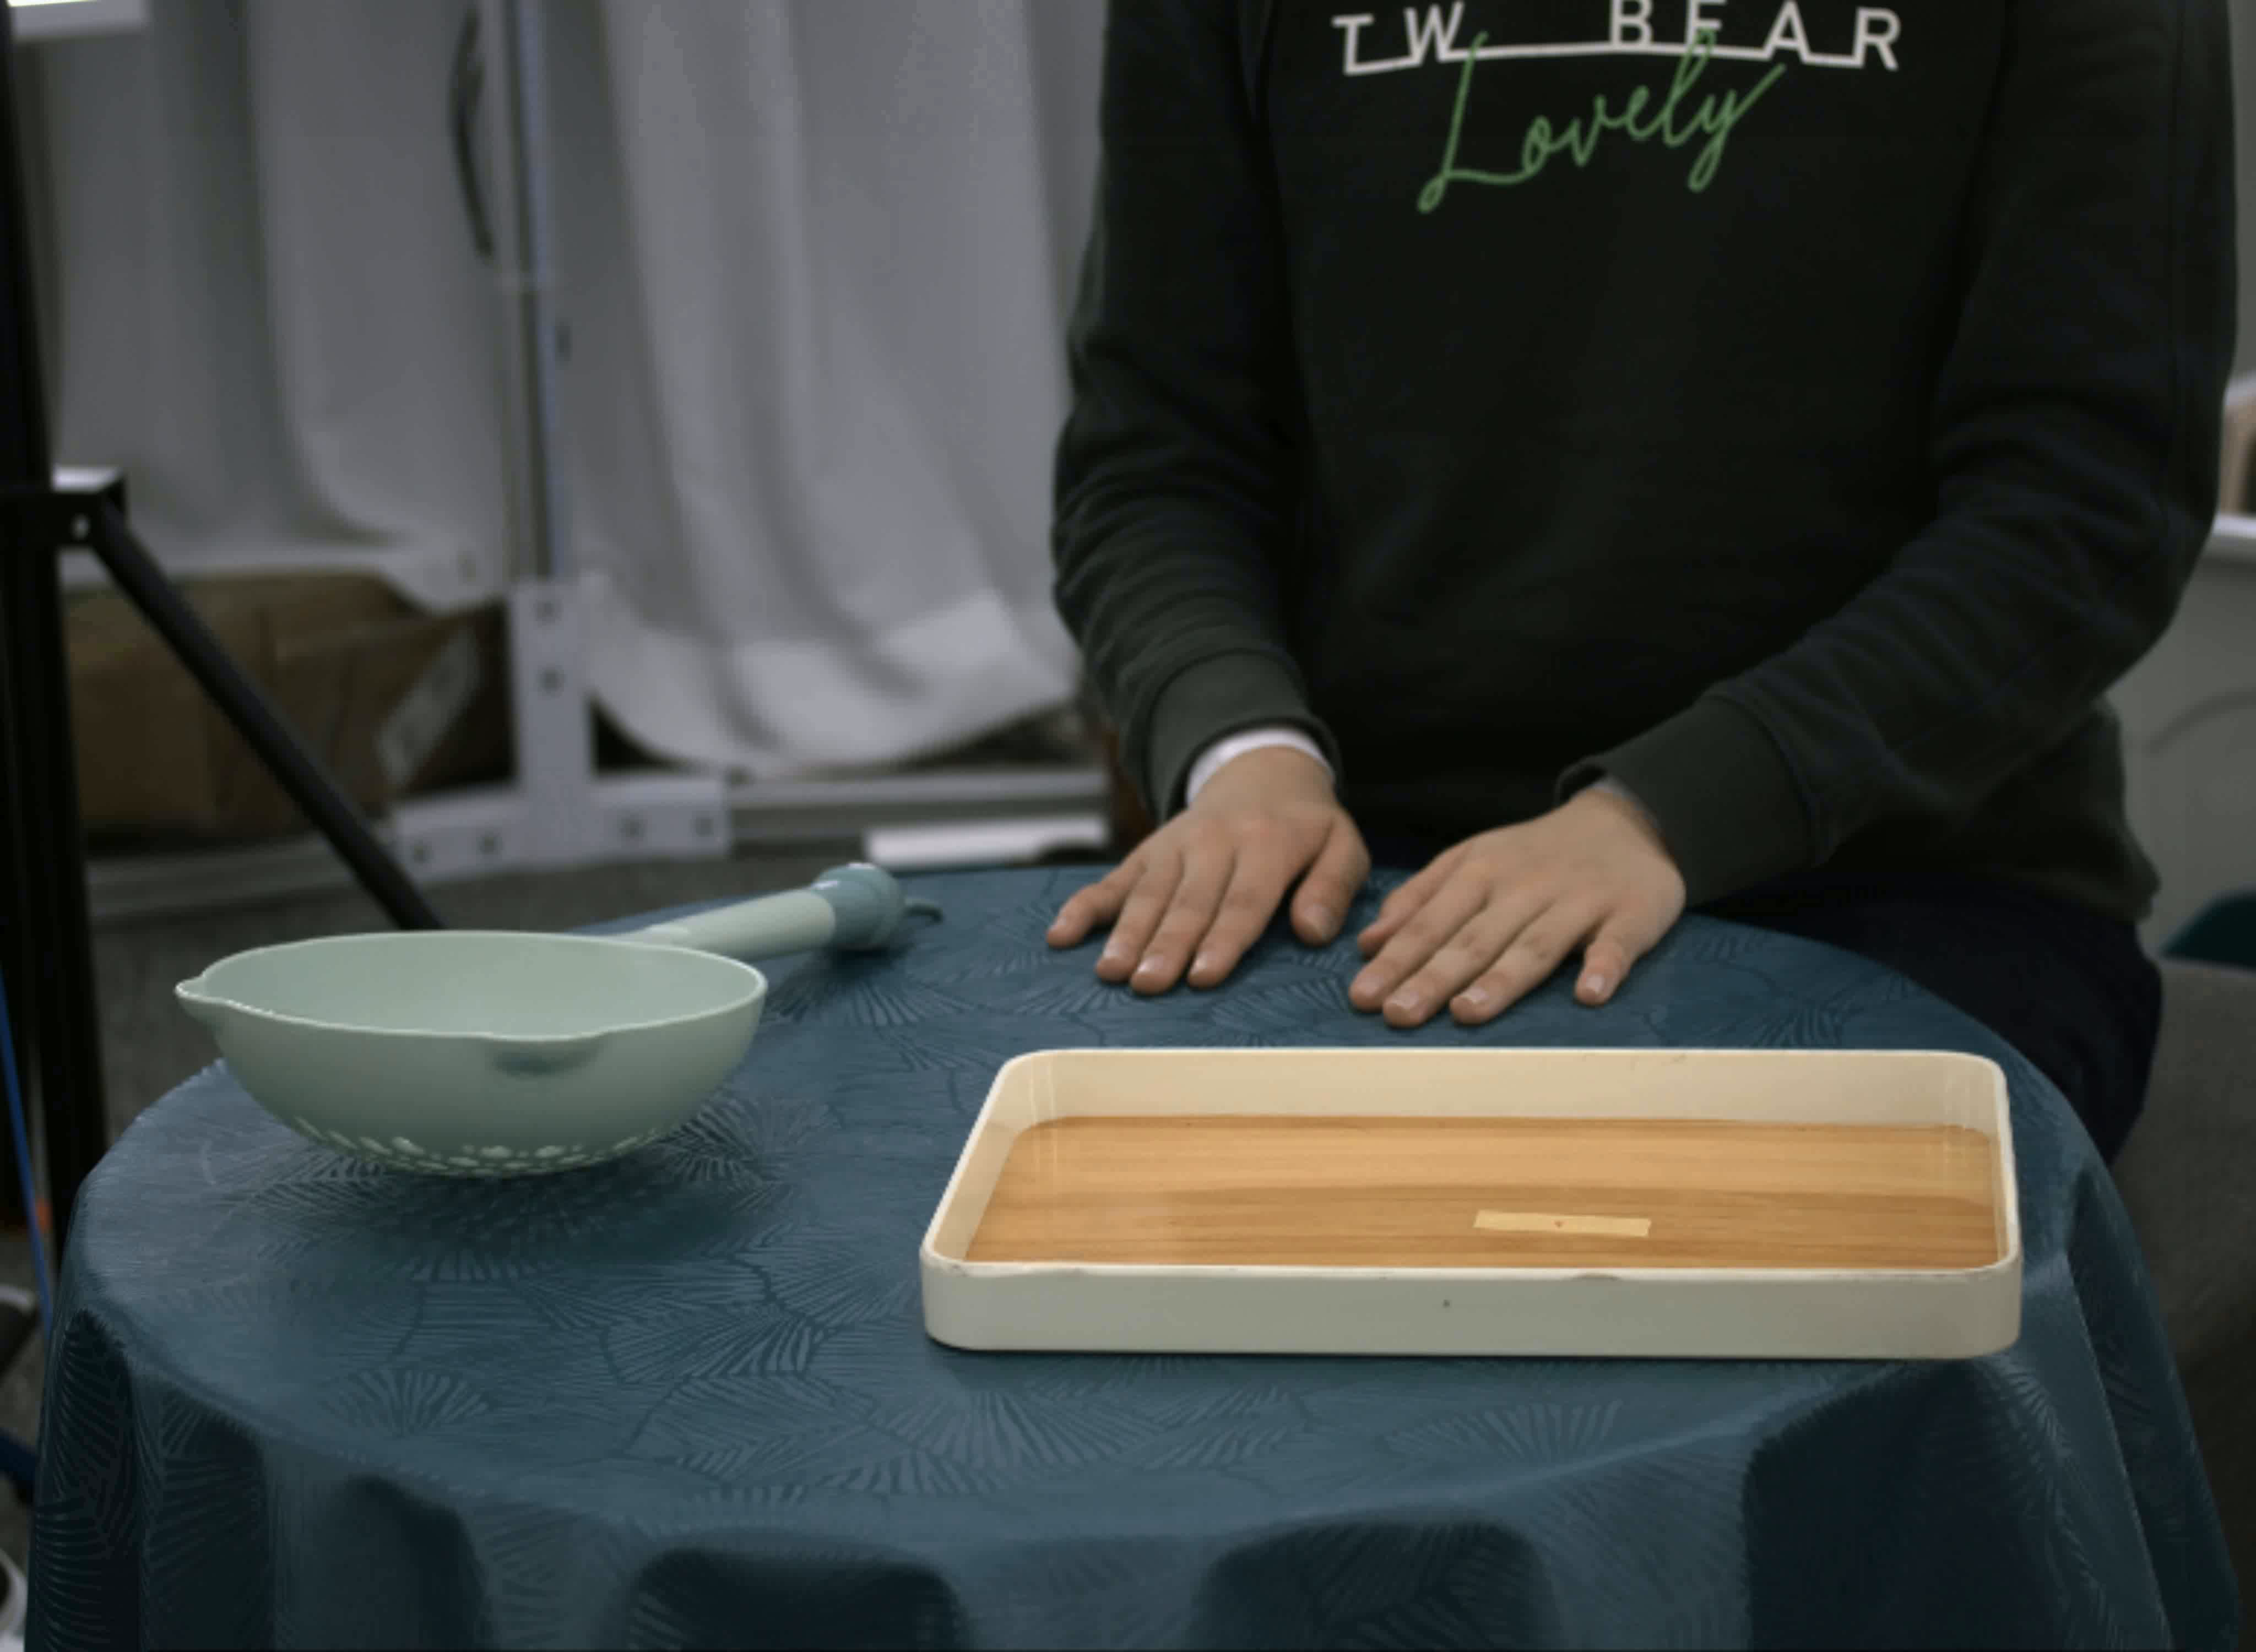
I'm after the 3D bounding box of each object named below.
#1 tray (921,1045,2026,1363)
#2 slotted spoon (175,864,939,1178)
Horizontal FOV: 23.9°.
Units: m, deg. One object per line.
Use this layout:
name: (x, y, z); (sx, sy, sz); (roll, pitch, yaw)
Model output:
tray: (0.101, 0.106, 1.501); (0.301, 0.027, 0.191); (0, 16, 9)
slotted spoon: (-0.150, 0.046, 1.683); (0.172, 0.075, 0.353); (6, 18, 26)
